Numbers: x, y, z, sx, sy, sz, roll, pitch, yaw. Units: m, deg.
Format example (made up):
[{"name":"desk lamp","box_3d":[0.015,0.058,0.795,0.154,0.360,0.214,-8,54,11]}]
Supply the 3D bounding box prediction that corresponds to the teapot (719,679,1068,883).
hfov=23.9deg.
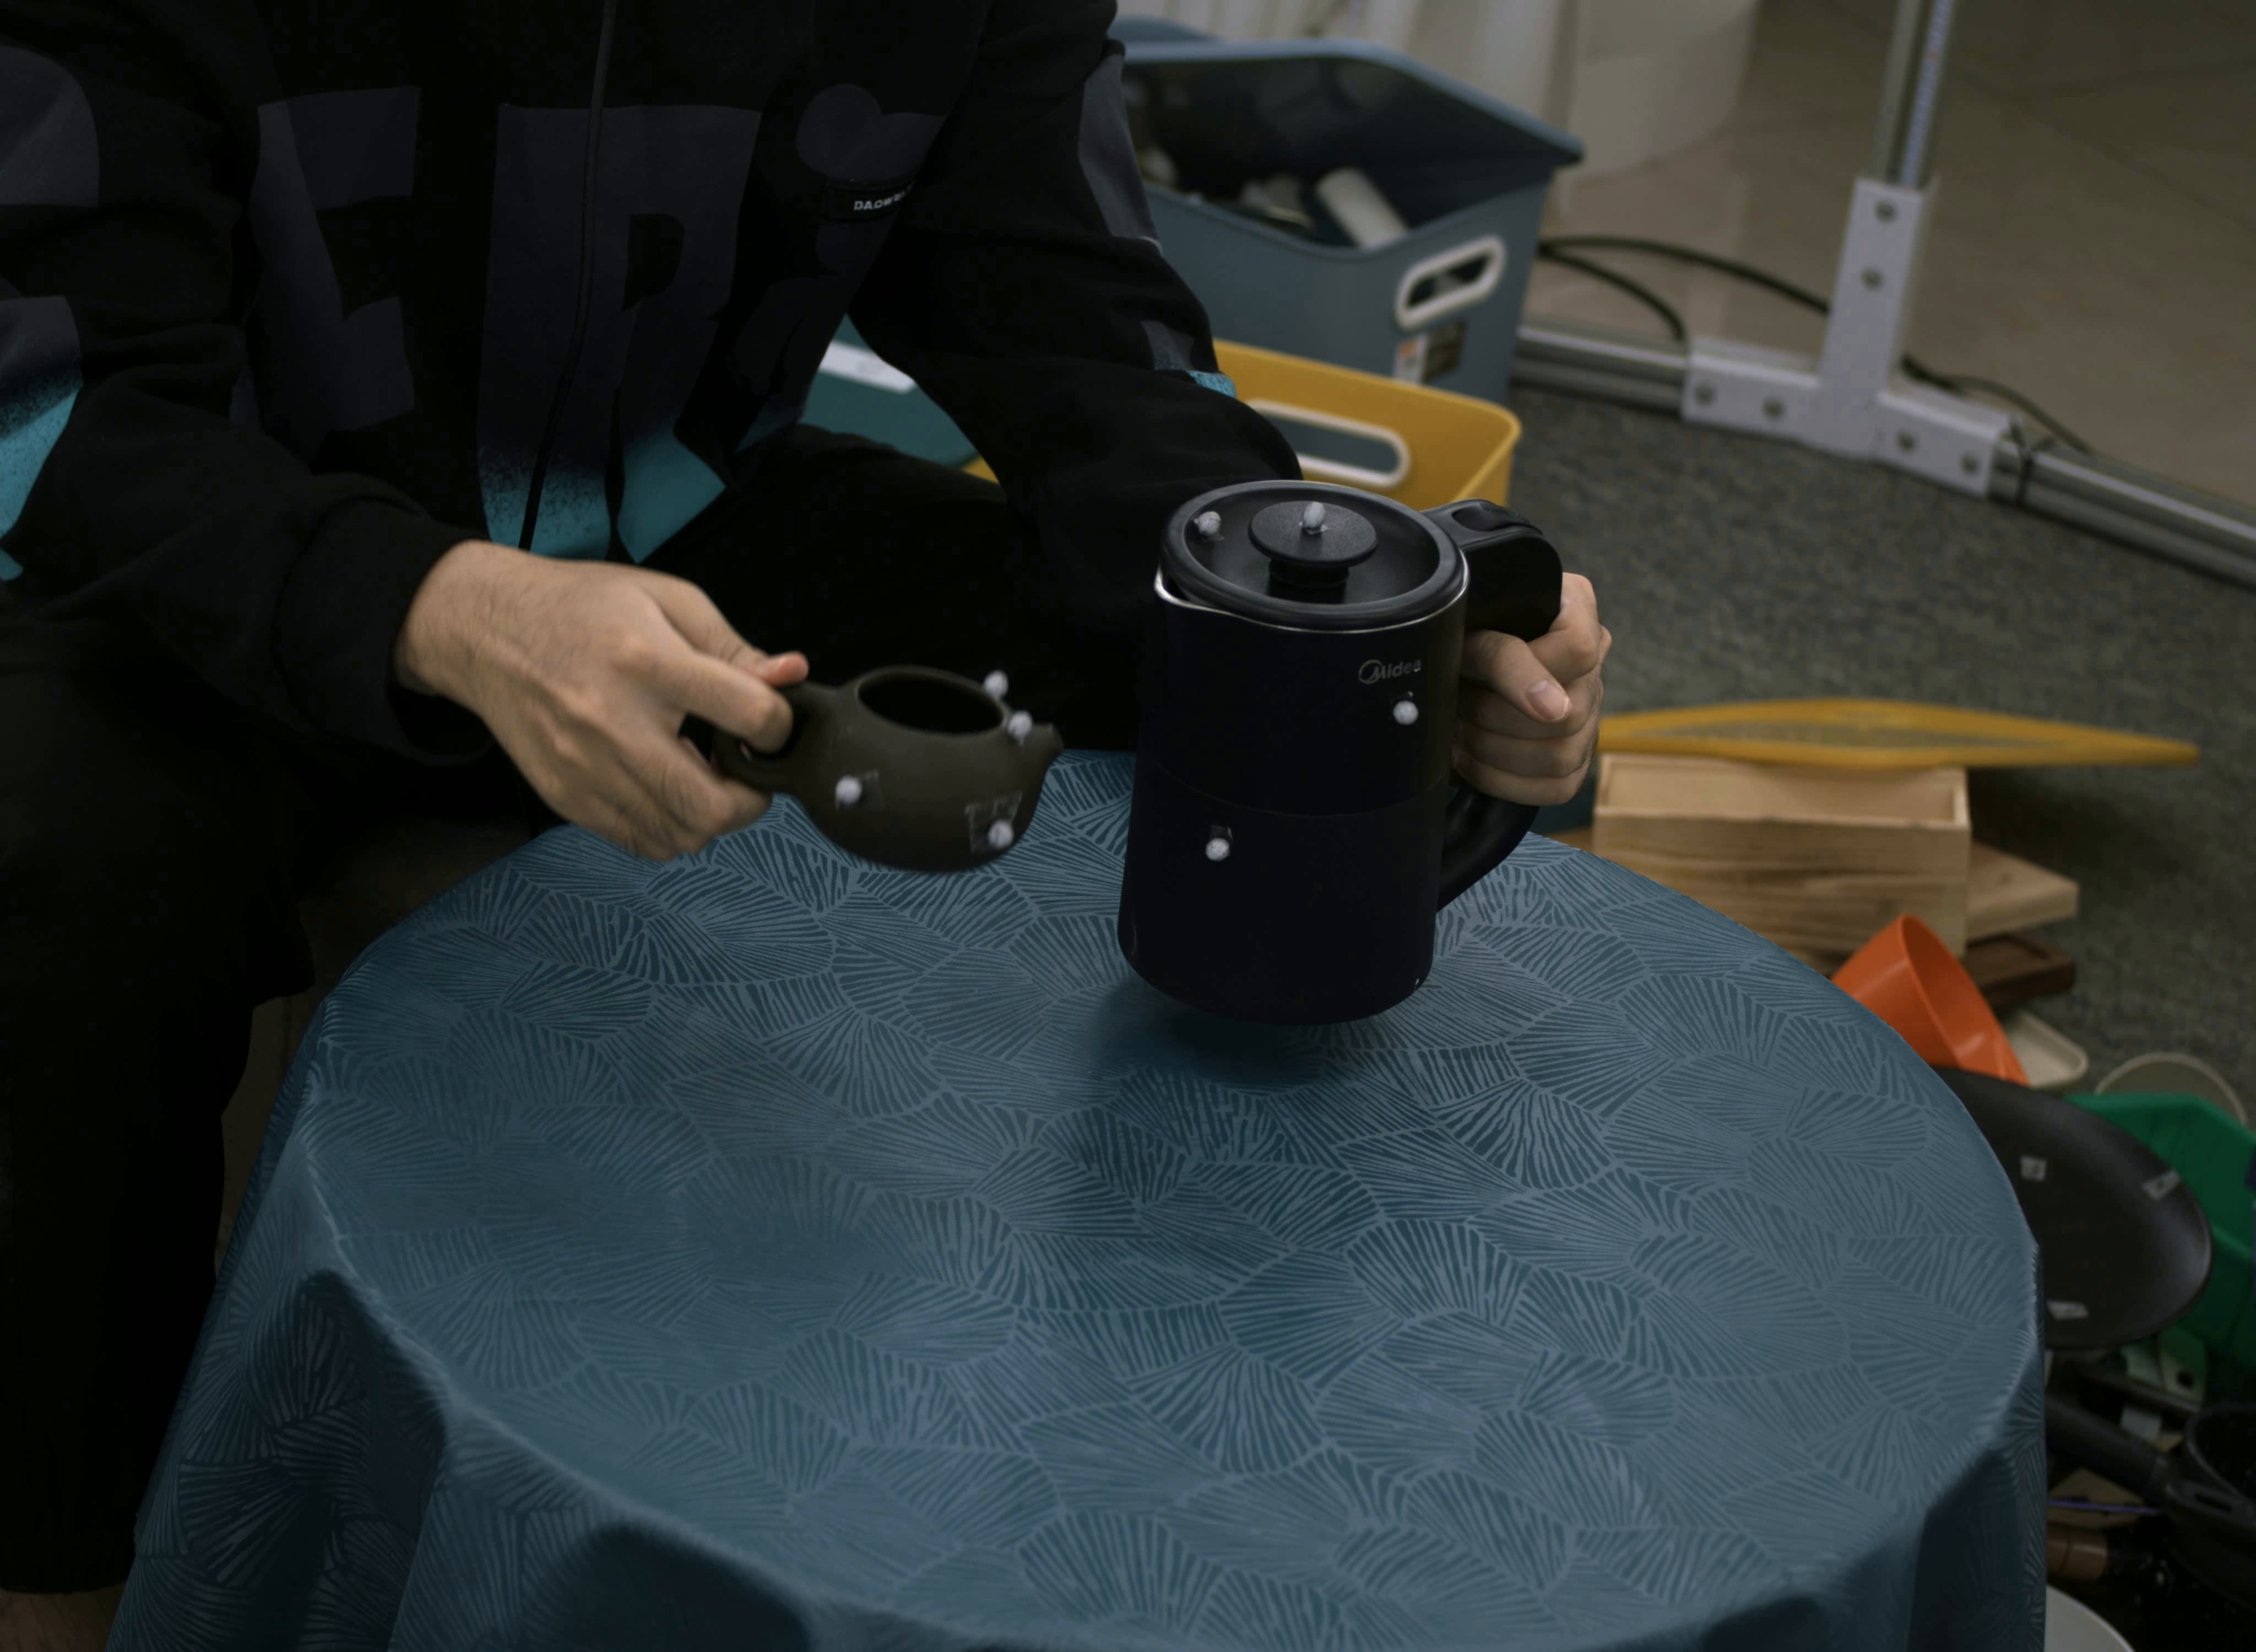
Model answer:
[{"name":"teapot","box_3d":[-0.080,-0.018,1.766,0.114,0.053,0.083,15,22,0]}]

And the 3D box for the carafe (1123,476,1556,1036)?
[{"name":"carafe","box_3d":[0.076,-0.036,1.878,0.171,0.173,0.115,-17,34,-31]}]
